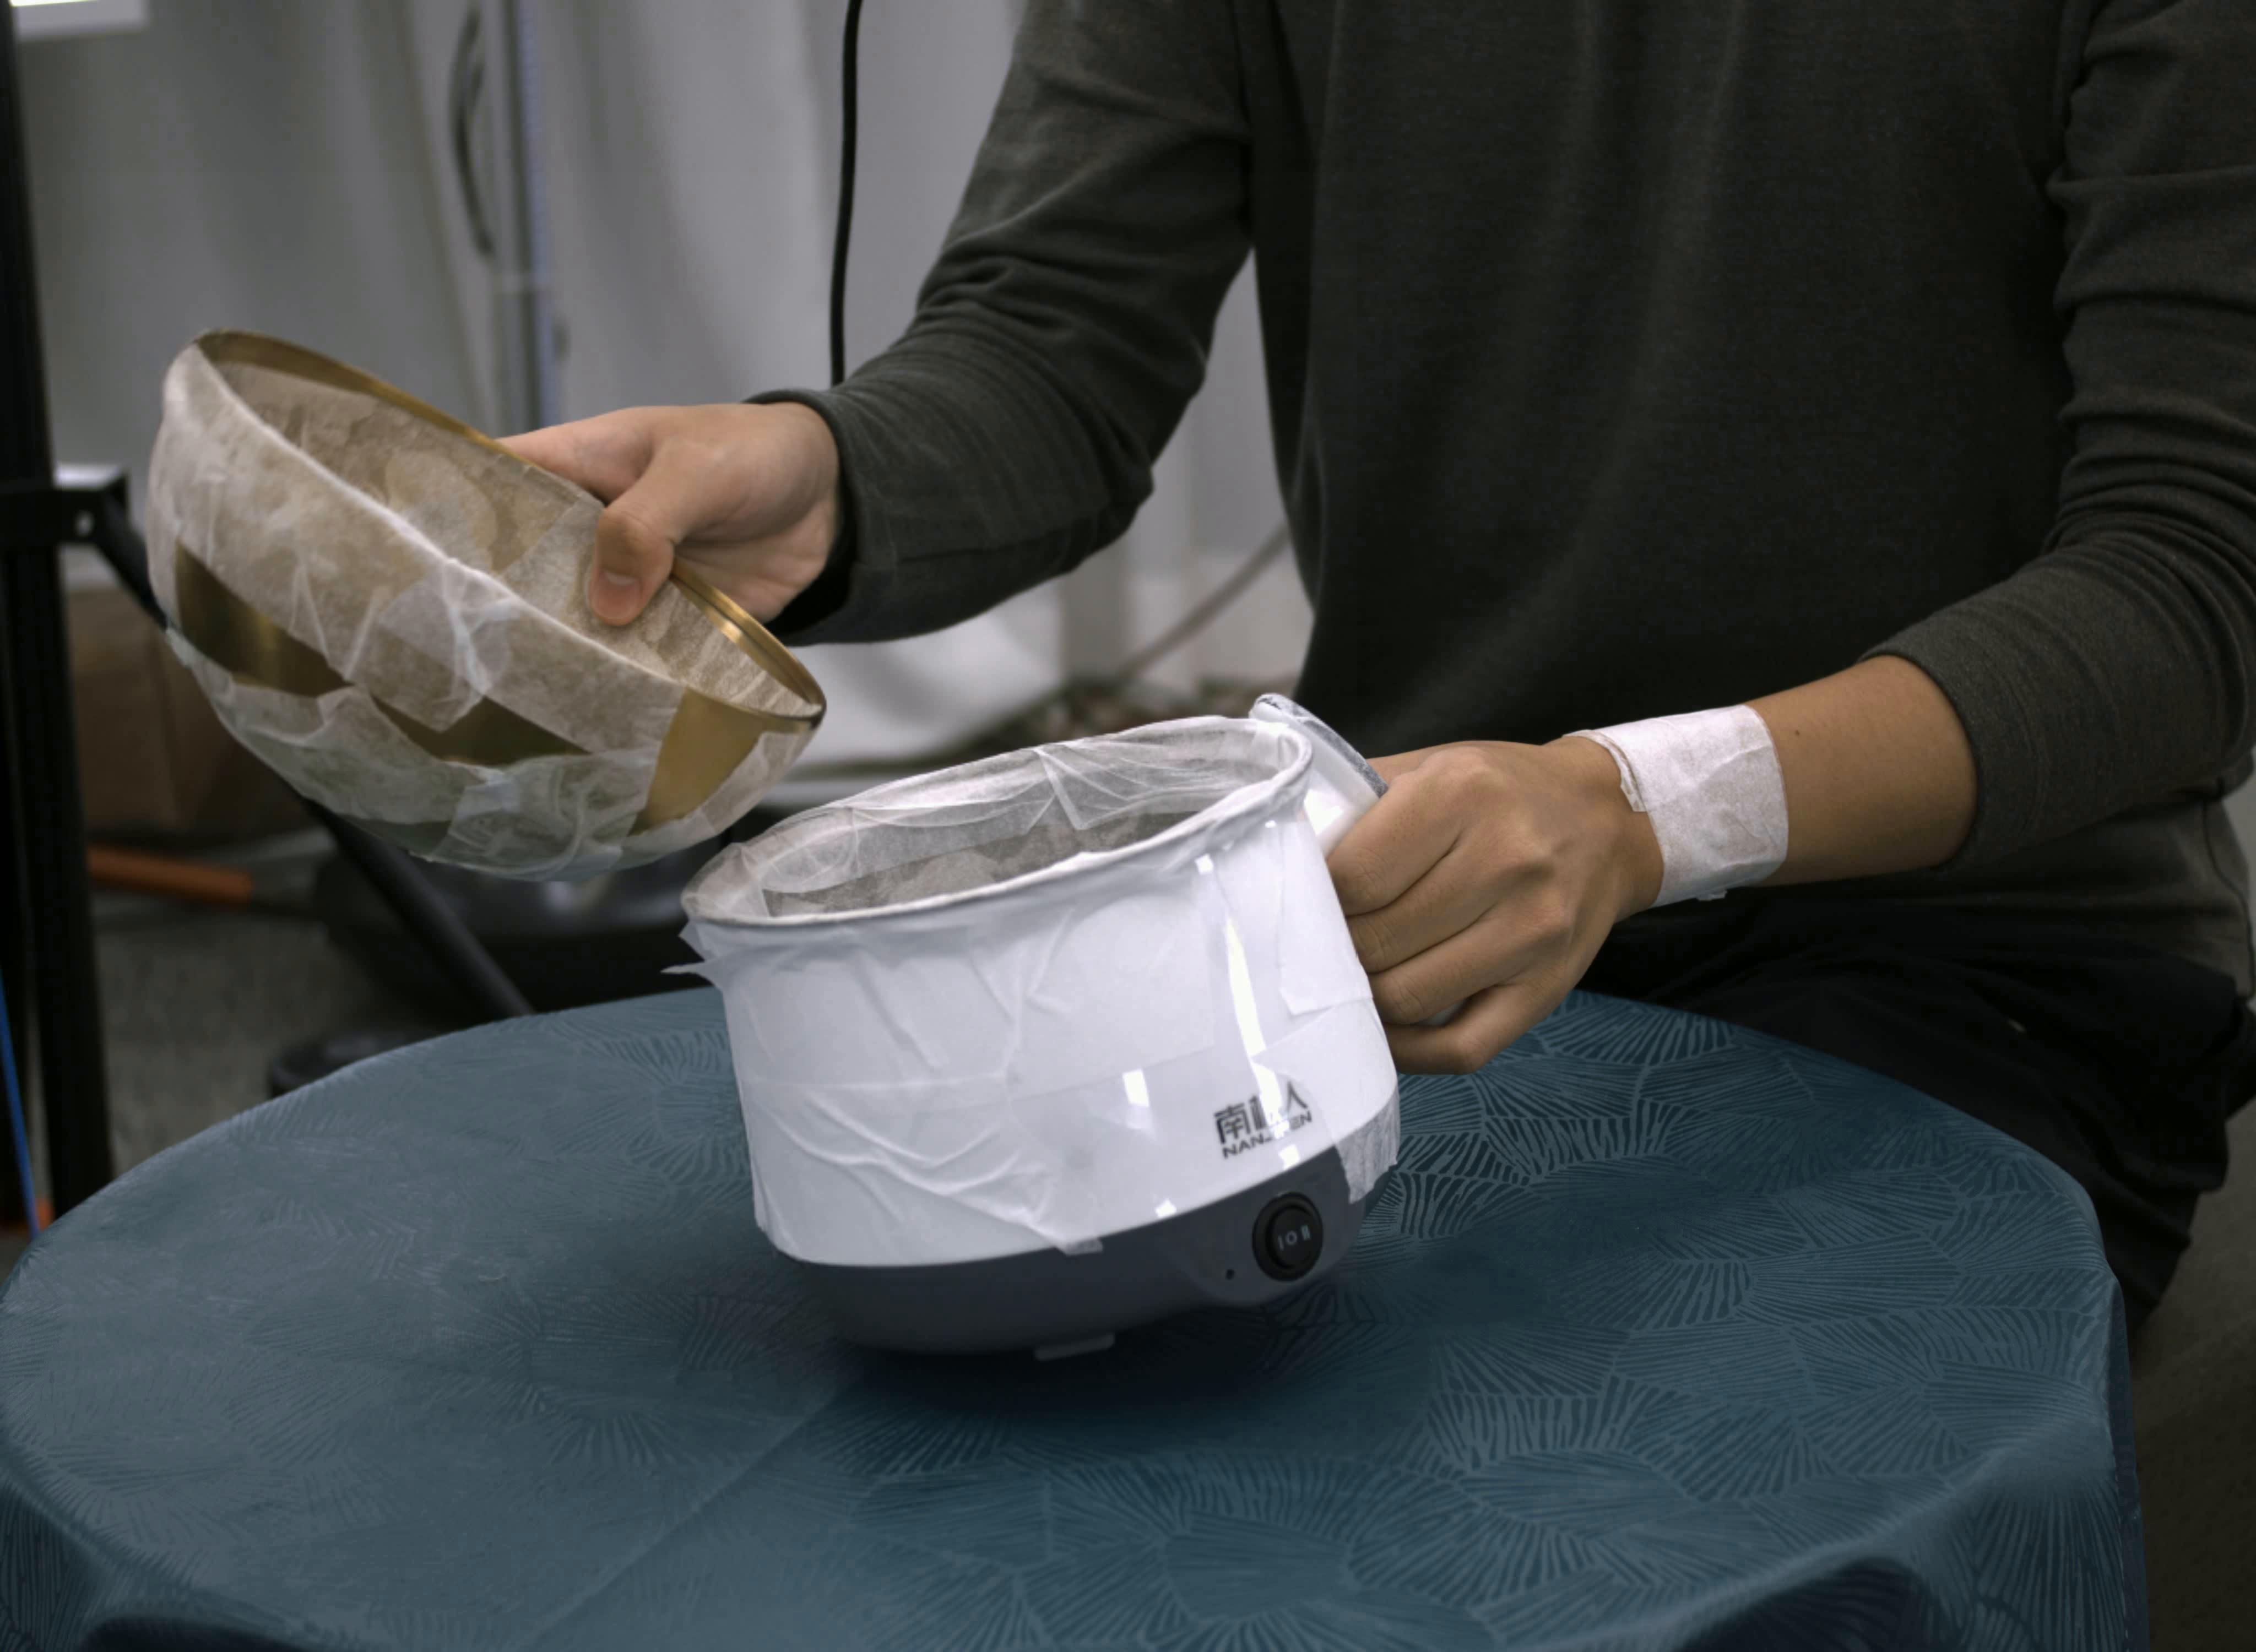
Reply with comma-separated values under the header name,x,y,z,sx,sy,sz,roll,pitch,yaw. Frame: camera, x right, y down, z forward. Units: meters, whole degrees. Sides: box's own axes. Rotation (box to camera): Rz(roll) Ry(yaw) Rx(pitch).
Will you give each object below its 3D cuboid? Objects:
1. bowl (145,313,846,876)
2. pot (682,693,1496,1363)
name,x,y,z,sx,sy,sz,roll,pitch,yaw
bowl,-0.186,-0.046,1.473,0.213,0.095,0.215,29,8,-6
pot,0.000,0.050,1.459,0.229,0.136,0.182,-21,14,-35
